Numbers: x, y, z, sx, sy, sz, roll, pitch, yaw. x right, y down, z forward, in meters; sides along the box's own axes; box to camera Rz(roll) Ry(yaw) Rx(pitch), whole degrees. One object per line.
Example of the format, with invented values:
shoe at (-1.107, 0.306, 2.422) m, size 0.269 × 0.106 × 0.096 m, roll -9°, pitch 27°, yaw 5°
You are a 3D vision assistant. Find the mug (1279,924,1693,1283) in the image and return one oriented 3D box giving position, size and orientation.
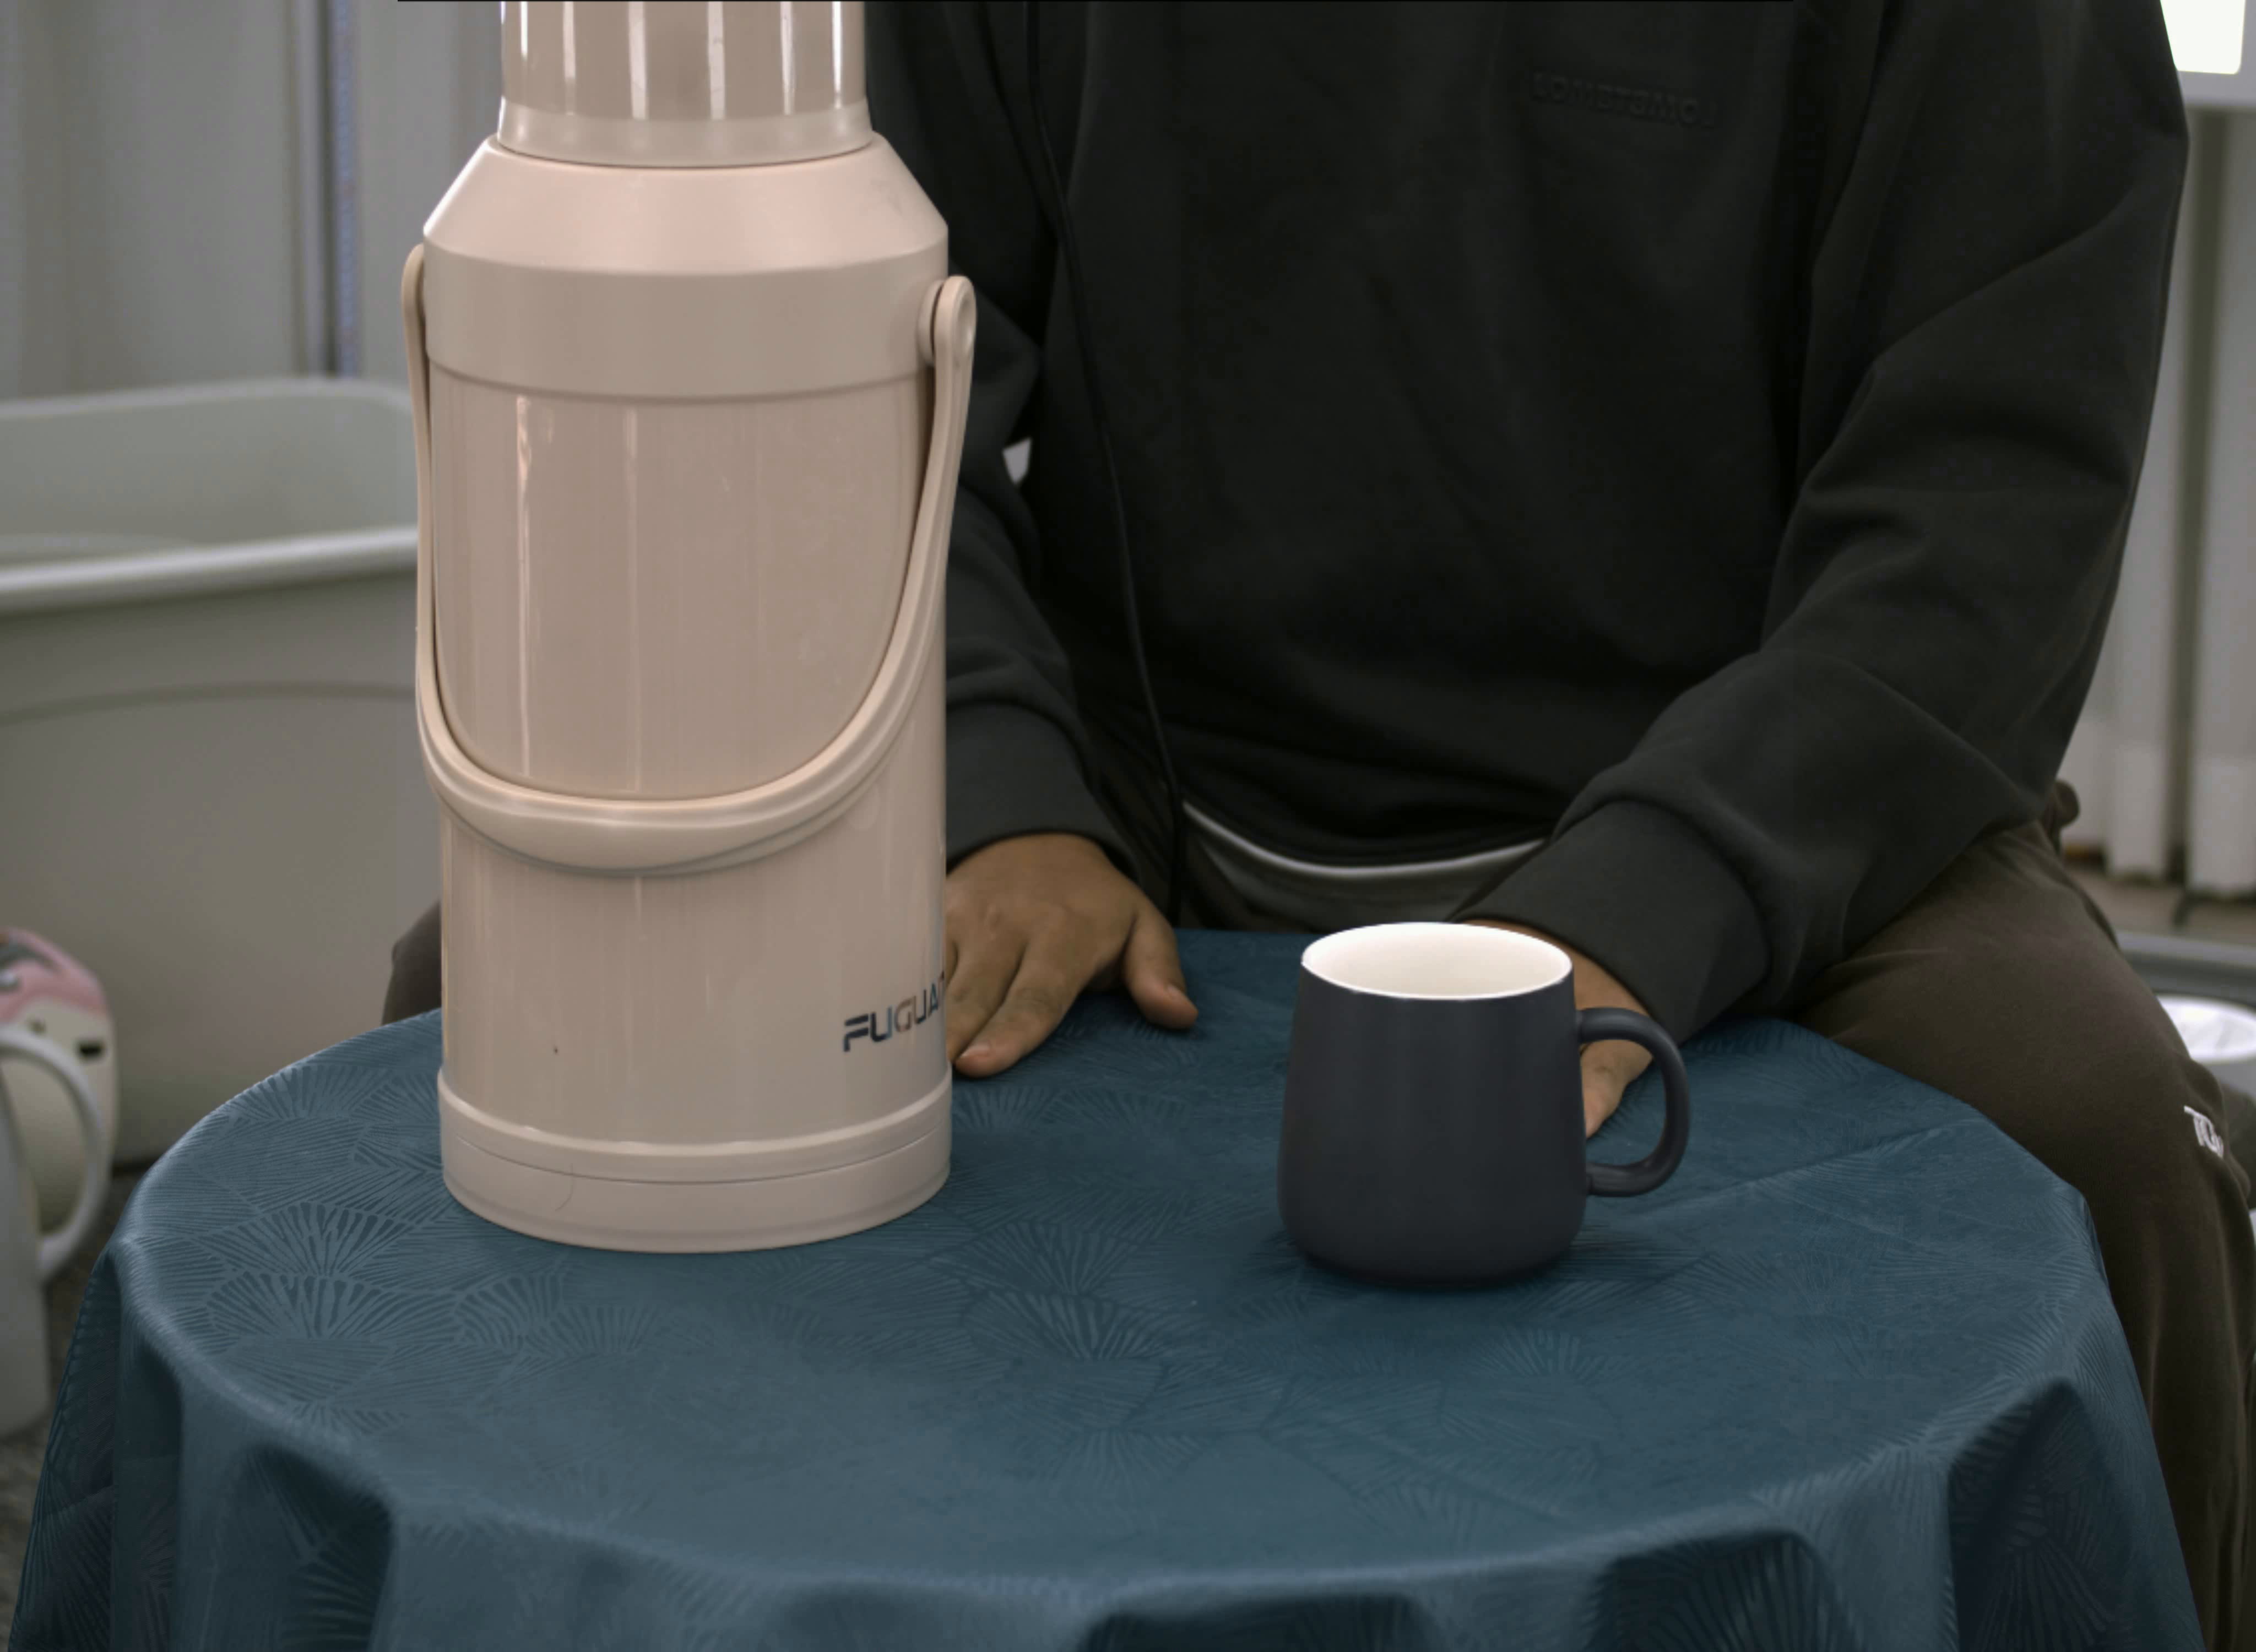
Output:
mug at (0.107, 0.083, 1.569) m, size 0.123 × 0.090 × 0.093 m, roll 1°, pitch 15°, yaw 2°

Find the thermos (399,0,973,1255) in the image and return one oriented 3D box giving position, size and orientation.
thermos at (-0.128, -0.088, 1.597) m, size 0.174 × 0.410 × 0.207 m, roll 5°, pitch 17°, yaw 15°
